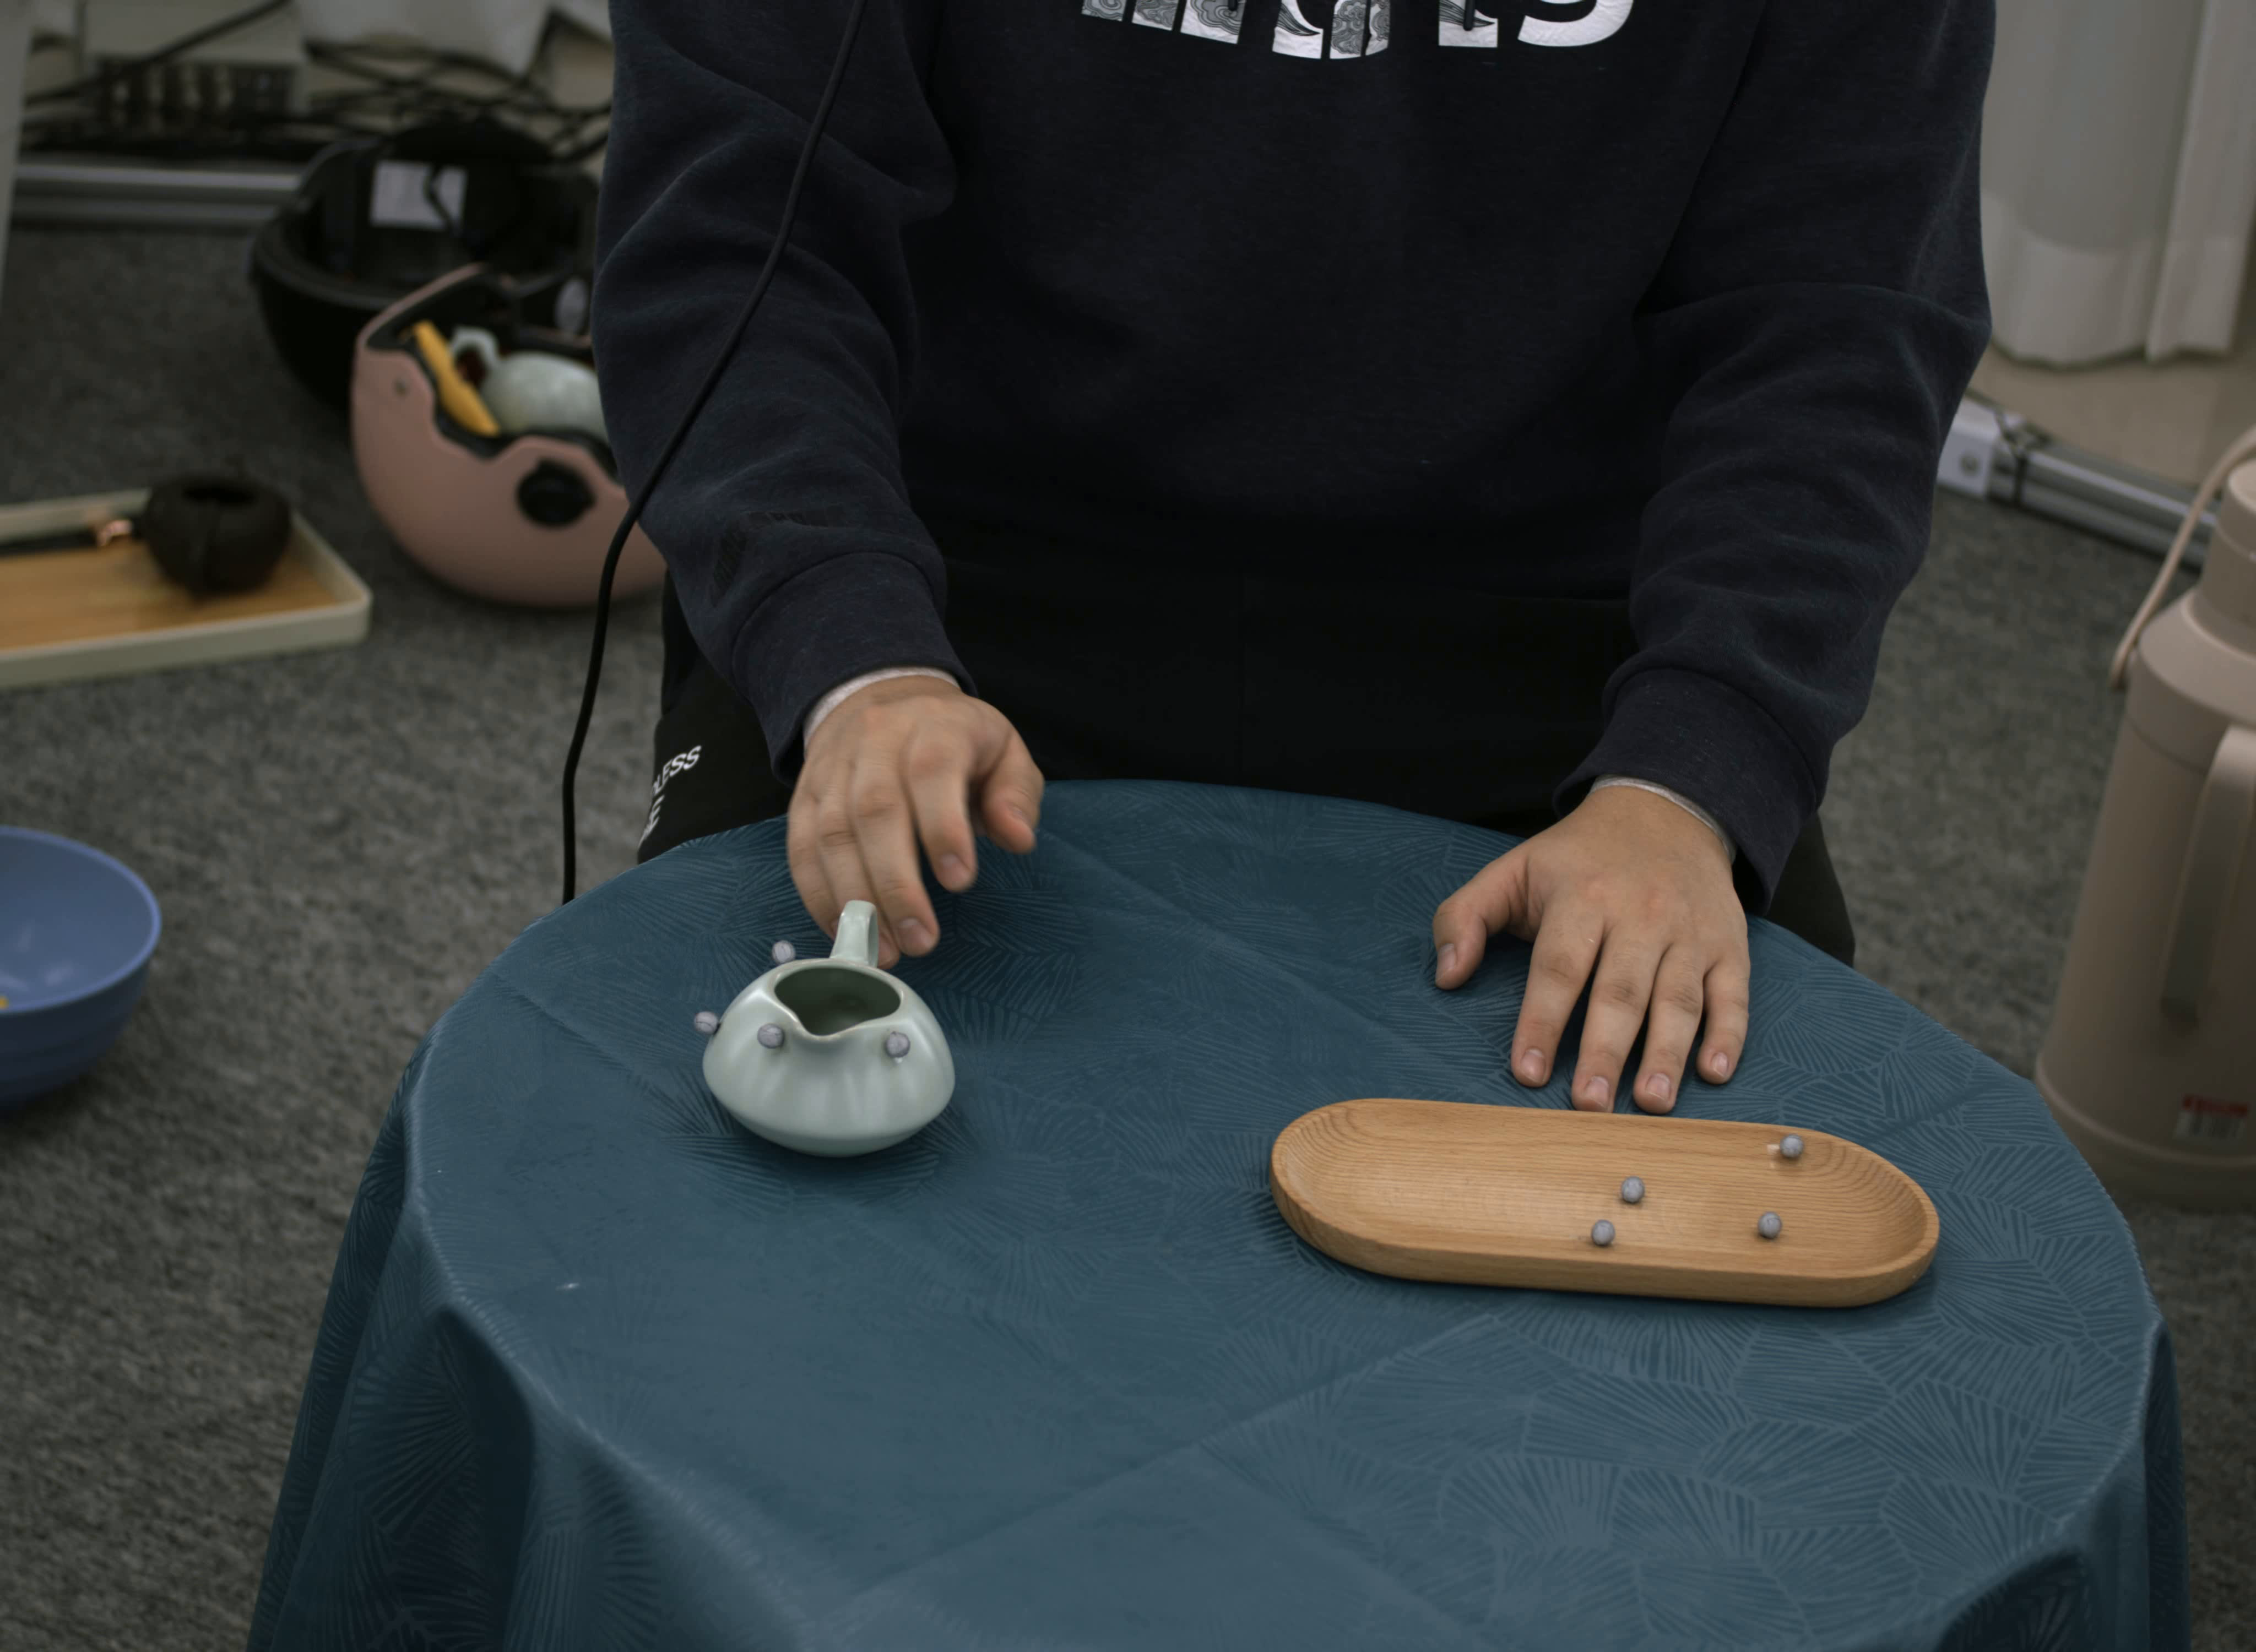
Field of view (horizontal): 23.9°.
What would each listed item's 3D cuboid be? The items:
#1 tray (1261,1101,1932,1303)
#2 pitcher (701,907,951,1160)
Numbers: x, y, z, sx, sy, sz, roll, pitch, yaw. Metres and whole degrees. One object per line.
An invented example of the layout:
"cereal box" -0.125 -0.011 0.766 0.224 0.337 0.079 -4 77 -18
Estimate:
"tray" 0.160 0.129 1.817 0.230 0.020 0.102 2 26 -5
"pitcher" -0.101 0.072 1.823 0.086 0.060 0.108 9 25 1
